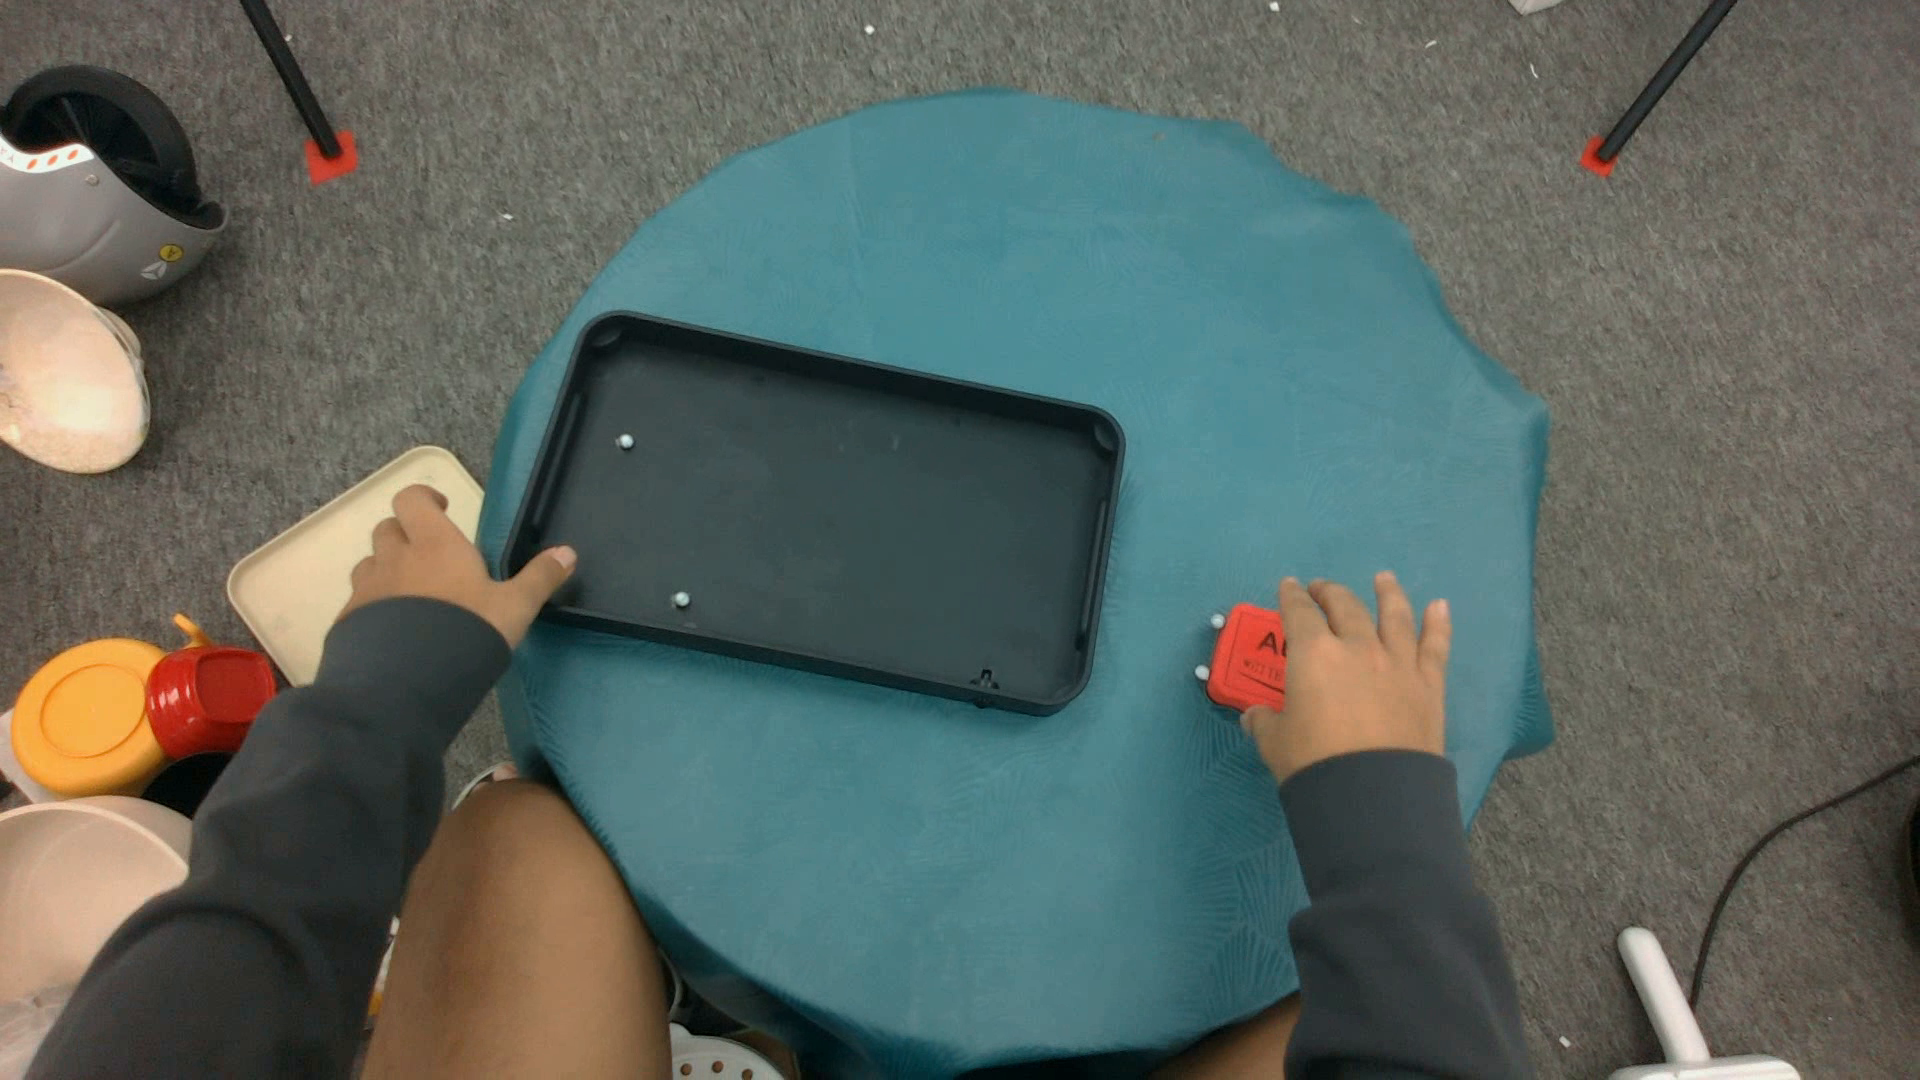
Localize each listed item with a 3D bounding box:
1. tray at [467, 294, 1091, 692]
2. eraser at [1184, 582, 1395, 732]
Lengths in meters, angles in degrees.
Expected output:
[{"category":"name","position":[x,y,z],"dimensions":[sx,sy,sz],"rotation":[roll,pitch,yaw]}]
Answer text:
[{"category":"tray","position":[-0.093,-0.026,0.767],"dimensions":[0.318,0.037,0.185],"rotation":[10,68,-3]},{"category":"eraser","position":[0.183,0.065,0.764],"dimensions":[0.108,0.023,0.059],"rotation":[17,74,-1]}]
